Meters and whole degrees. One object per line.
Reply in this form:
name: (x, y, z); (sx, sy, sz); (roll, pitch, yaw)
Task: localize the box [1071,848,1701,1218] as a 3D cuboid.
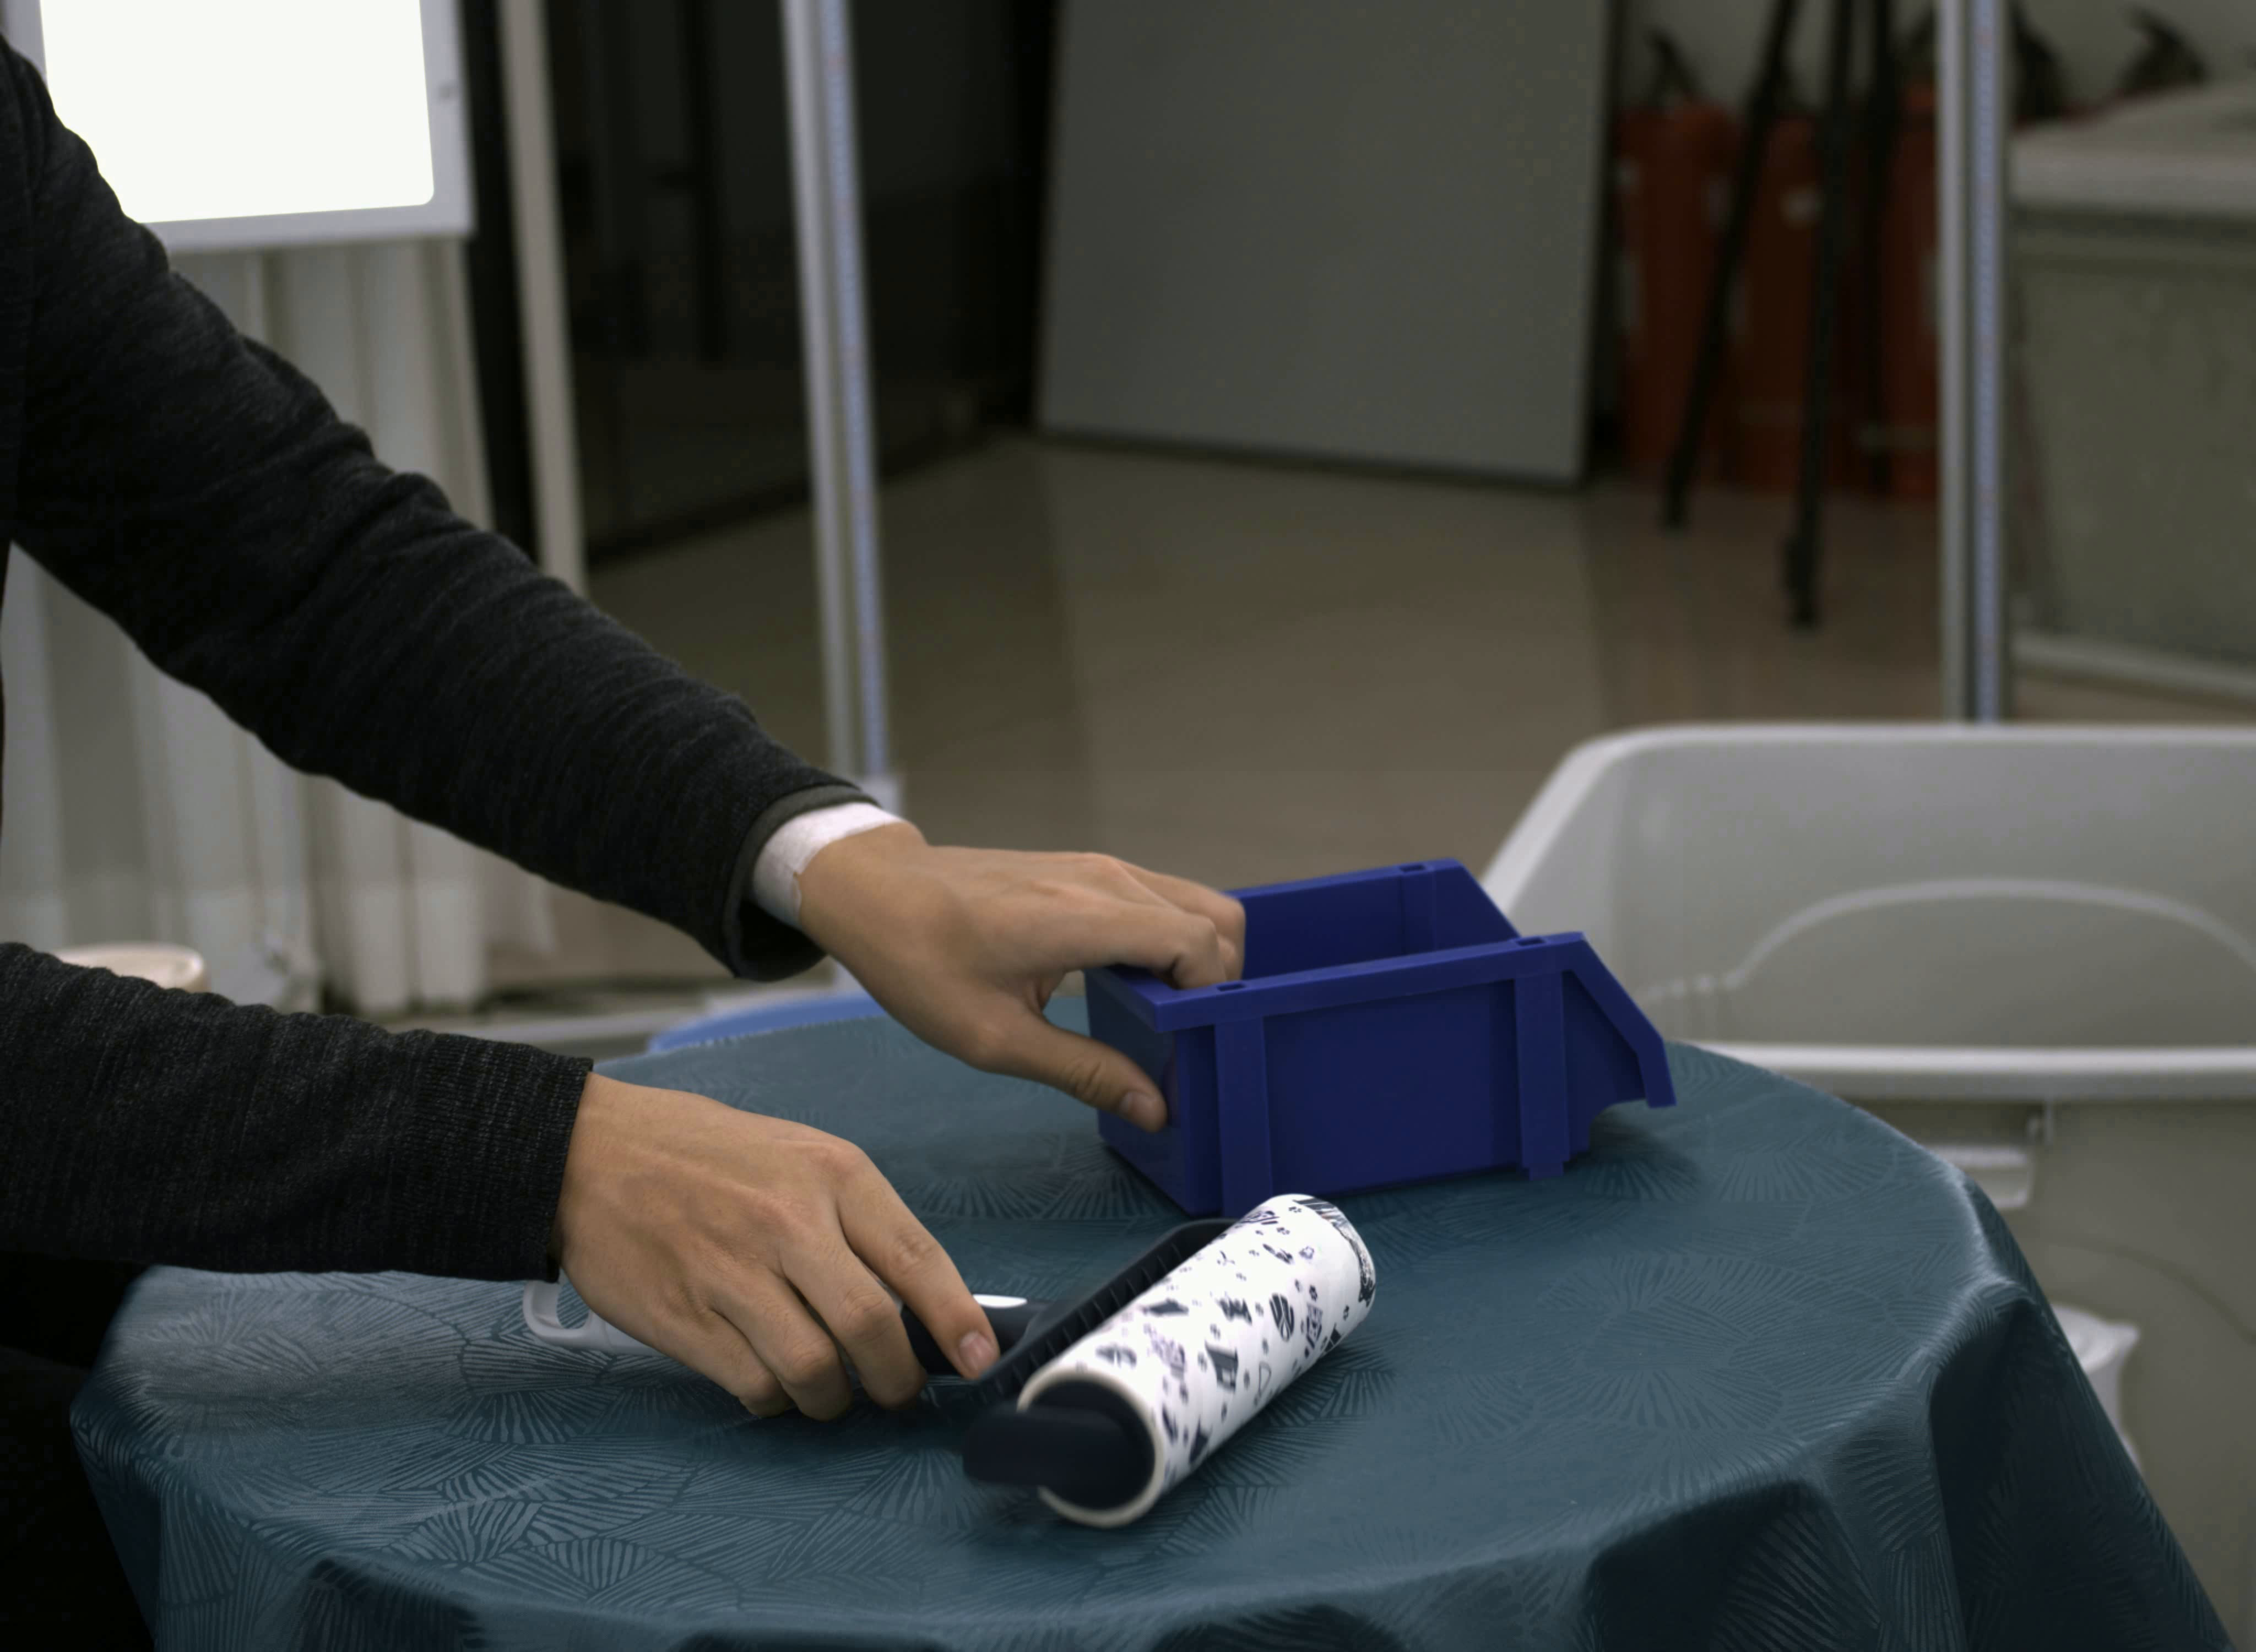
box: (0.085, 0.067, 1.792); (0.176, 0.083, 0.125); (-10, 14, -14)

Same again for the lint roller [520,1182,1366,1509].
lint roller: (-0.071, 0.144, 1.584); (0.247, 0.051, 0.174); (2, 14, 25)
